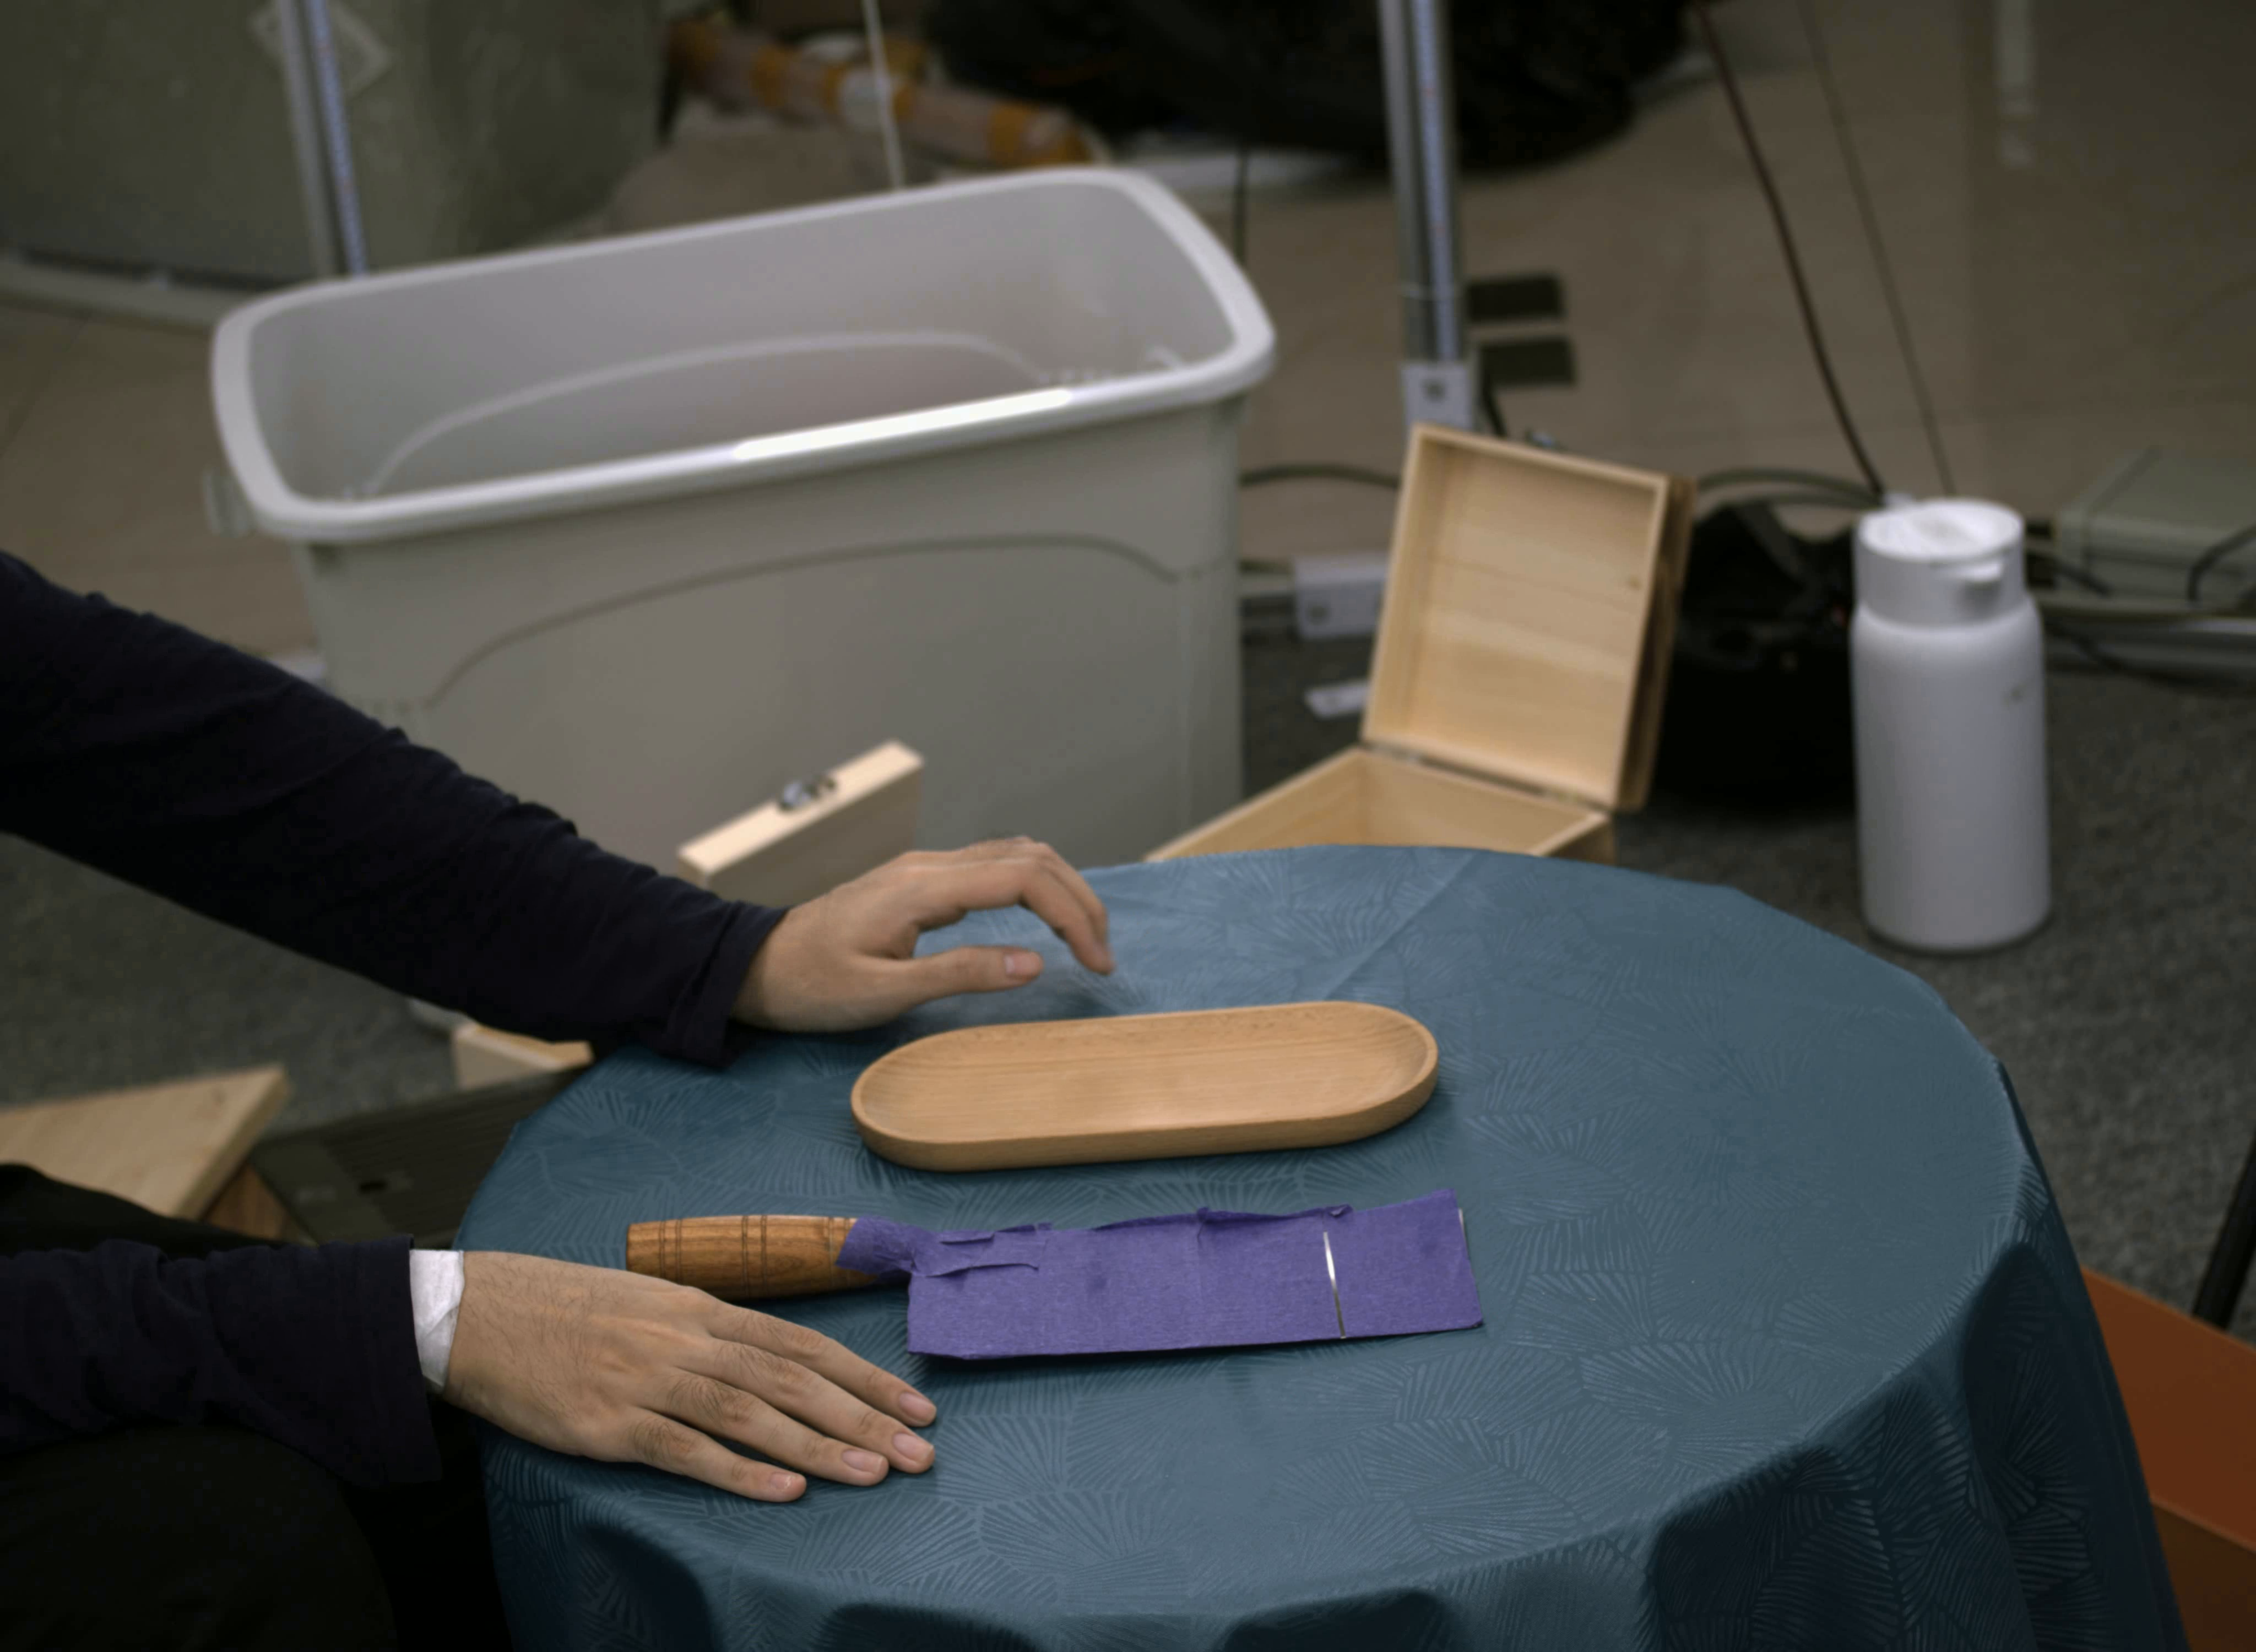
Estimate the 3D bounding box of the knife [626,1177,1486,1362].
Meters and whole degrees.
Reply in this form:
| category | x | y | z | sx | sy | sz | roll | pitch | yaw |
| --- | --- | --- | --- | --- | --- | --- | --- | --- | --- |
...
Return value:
| category | x | y | z | sx | sy | sz | roll | pitch | yaw |
| --- | --- | --- | --- | --- | --- | --- | --- | --- | --- |
| knife | -0.028 | 0.164 | 2.072 | 0.315 | 0.033 | 0.102 | -6 | 25 | 1 |

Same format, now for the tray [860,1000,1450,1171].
| category | x | y | z | sx | sy | sz | roll | pitch | yaw |
| --- | --- | --- | --- | --- | --- | --- | --- | --- | --- |
| tray | 0.011 | 0.102 | 2.211 | 0.231 | 0.020 | 0.100 | -4 | 25 | 3 |
